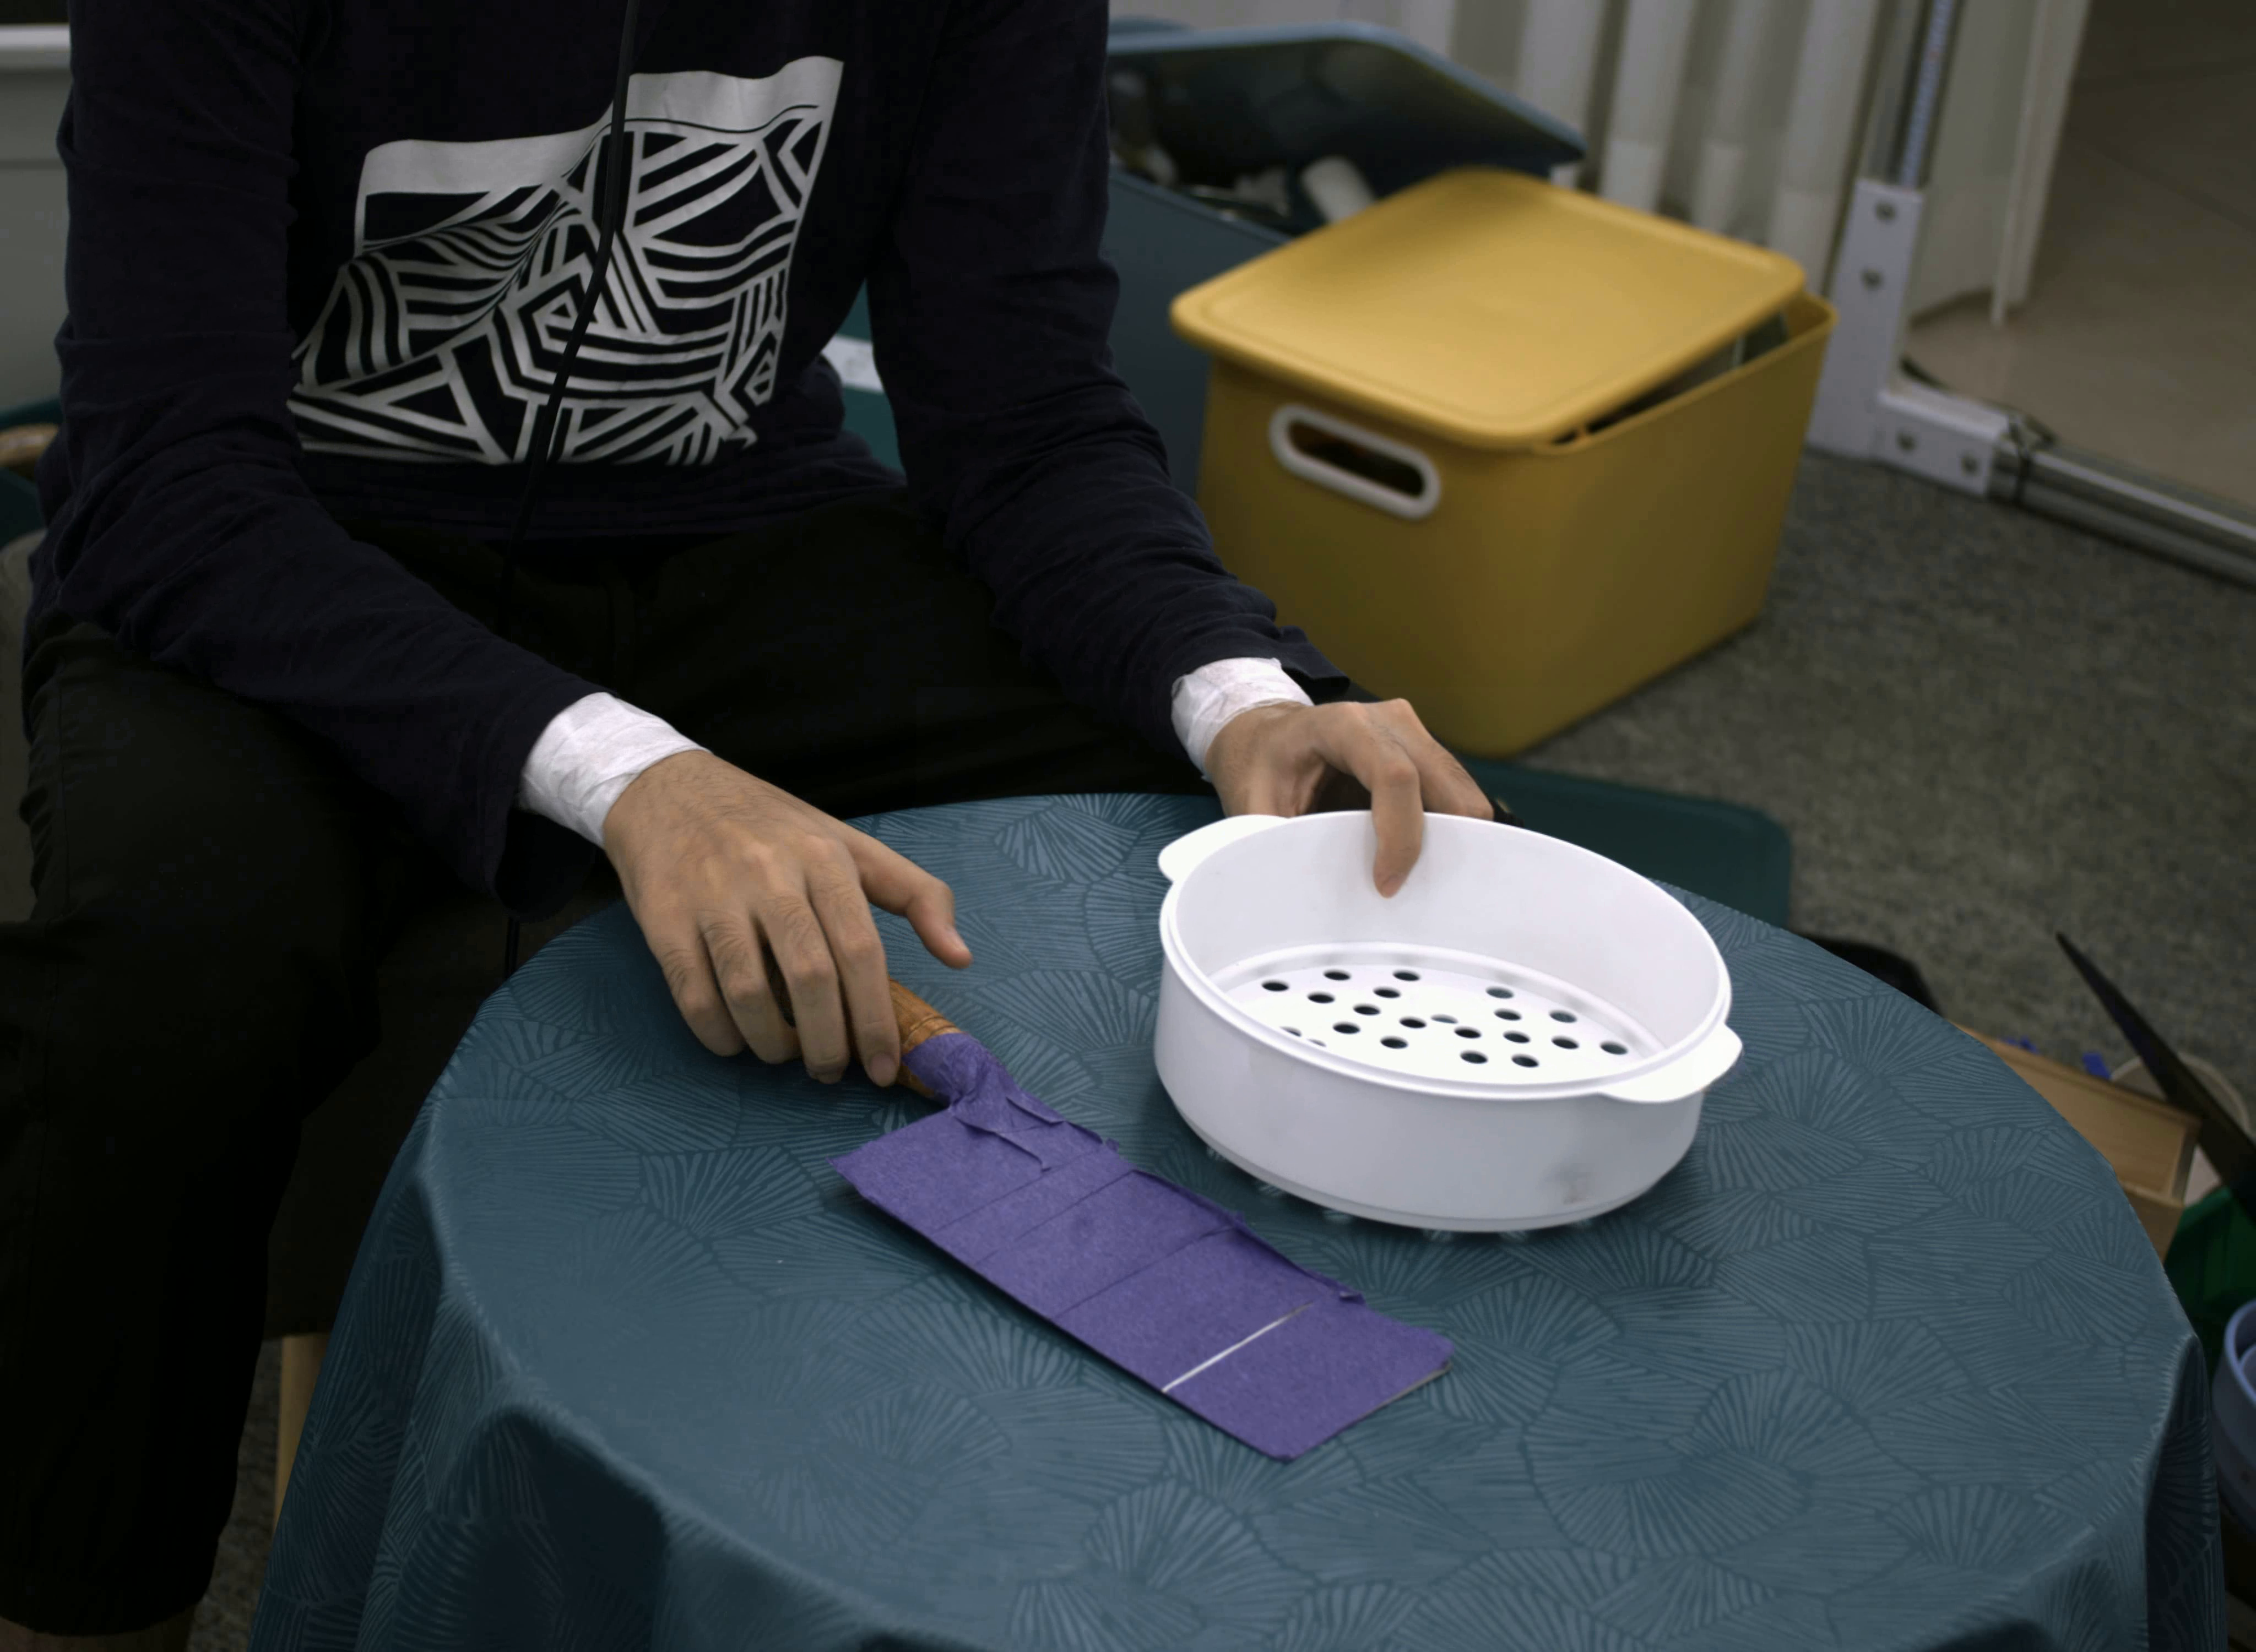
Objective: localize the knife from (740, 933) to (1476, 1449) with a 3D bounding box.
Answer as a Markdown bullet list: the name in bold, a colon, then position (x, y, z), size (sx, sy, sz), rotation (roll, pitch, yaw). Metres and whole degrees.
- **knife**: position (-0.033, 0.118, 1.778), size (0.317, 0.032, 0.103), rotation (27, 33, 34)

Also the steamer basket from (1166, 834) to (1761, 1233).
- **steamer basket**: position (0.112, 0.073, 1.859), size (0.232, 0.069, 0.201), rotation (23, 30, 35)
